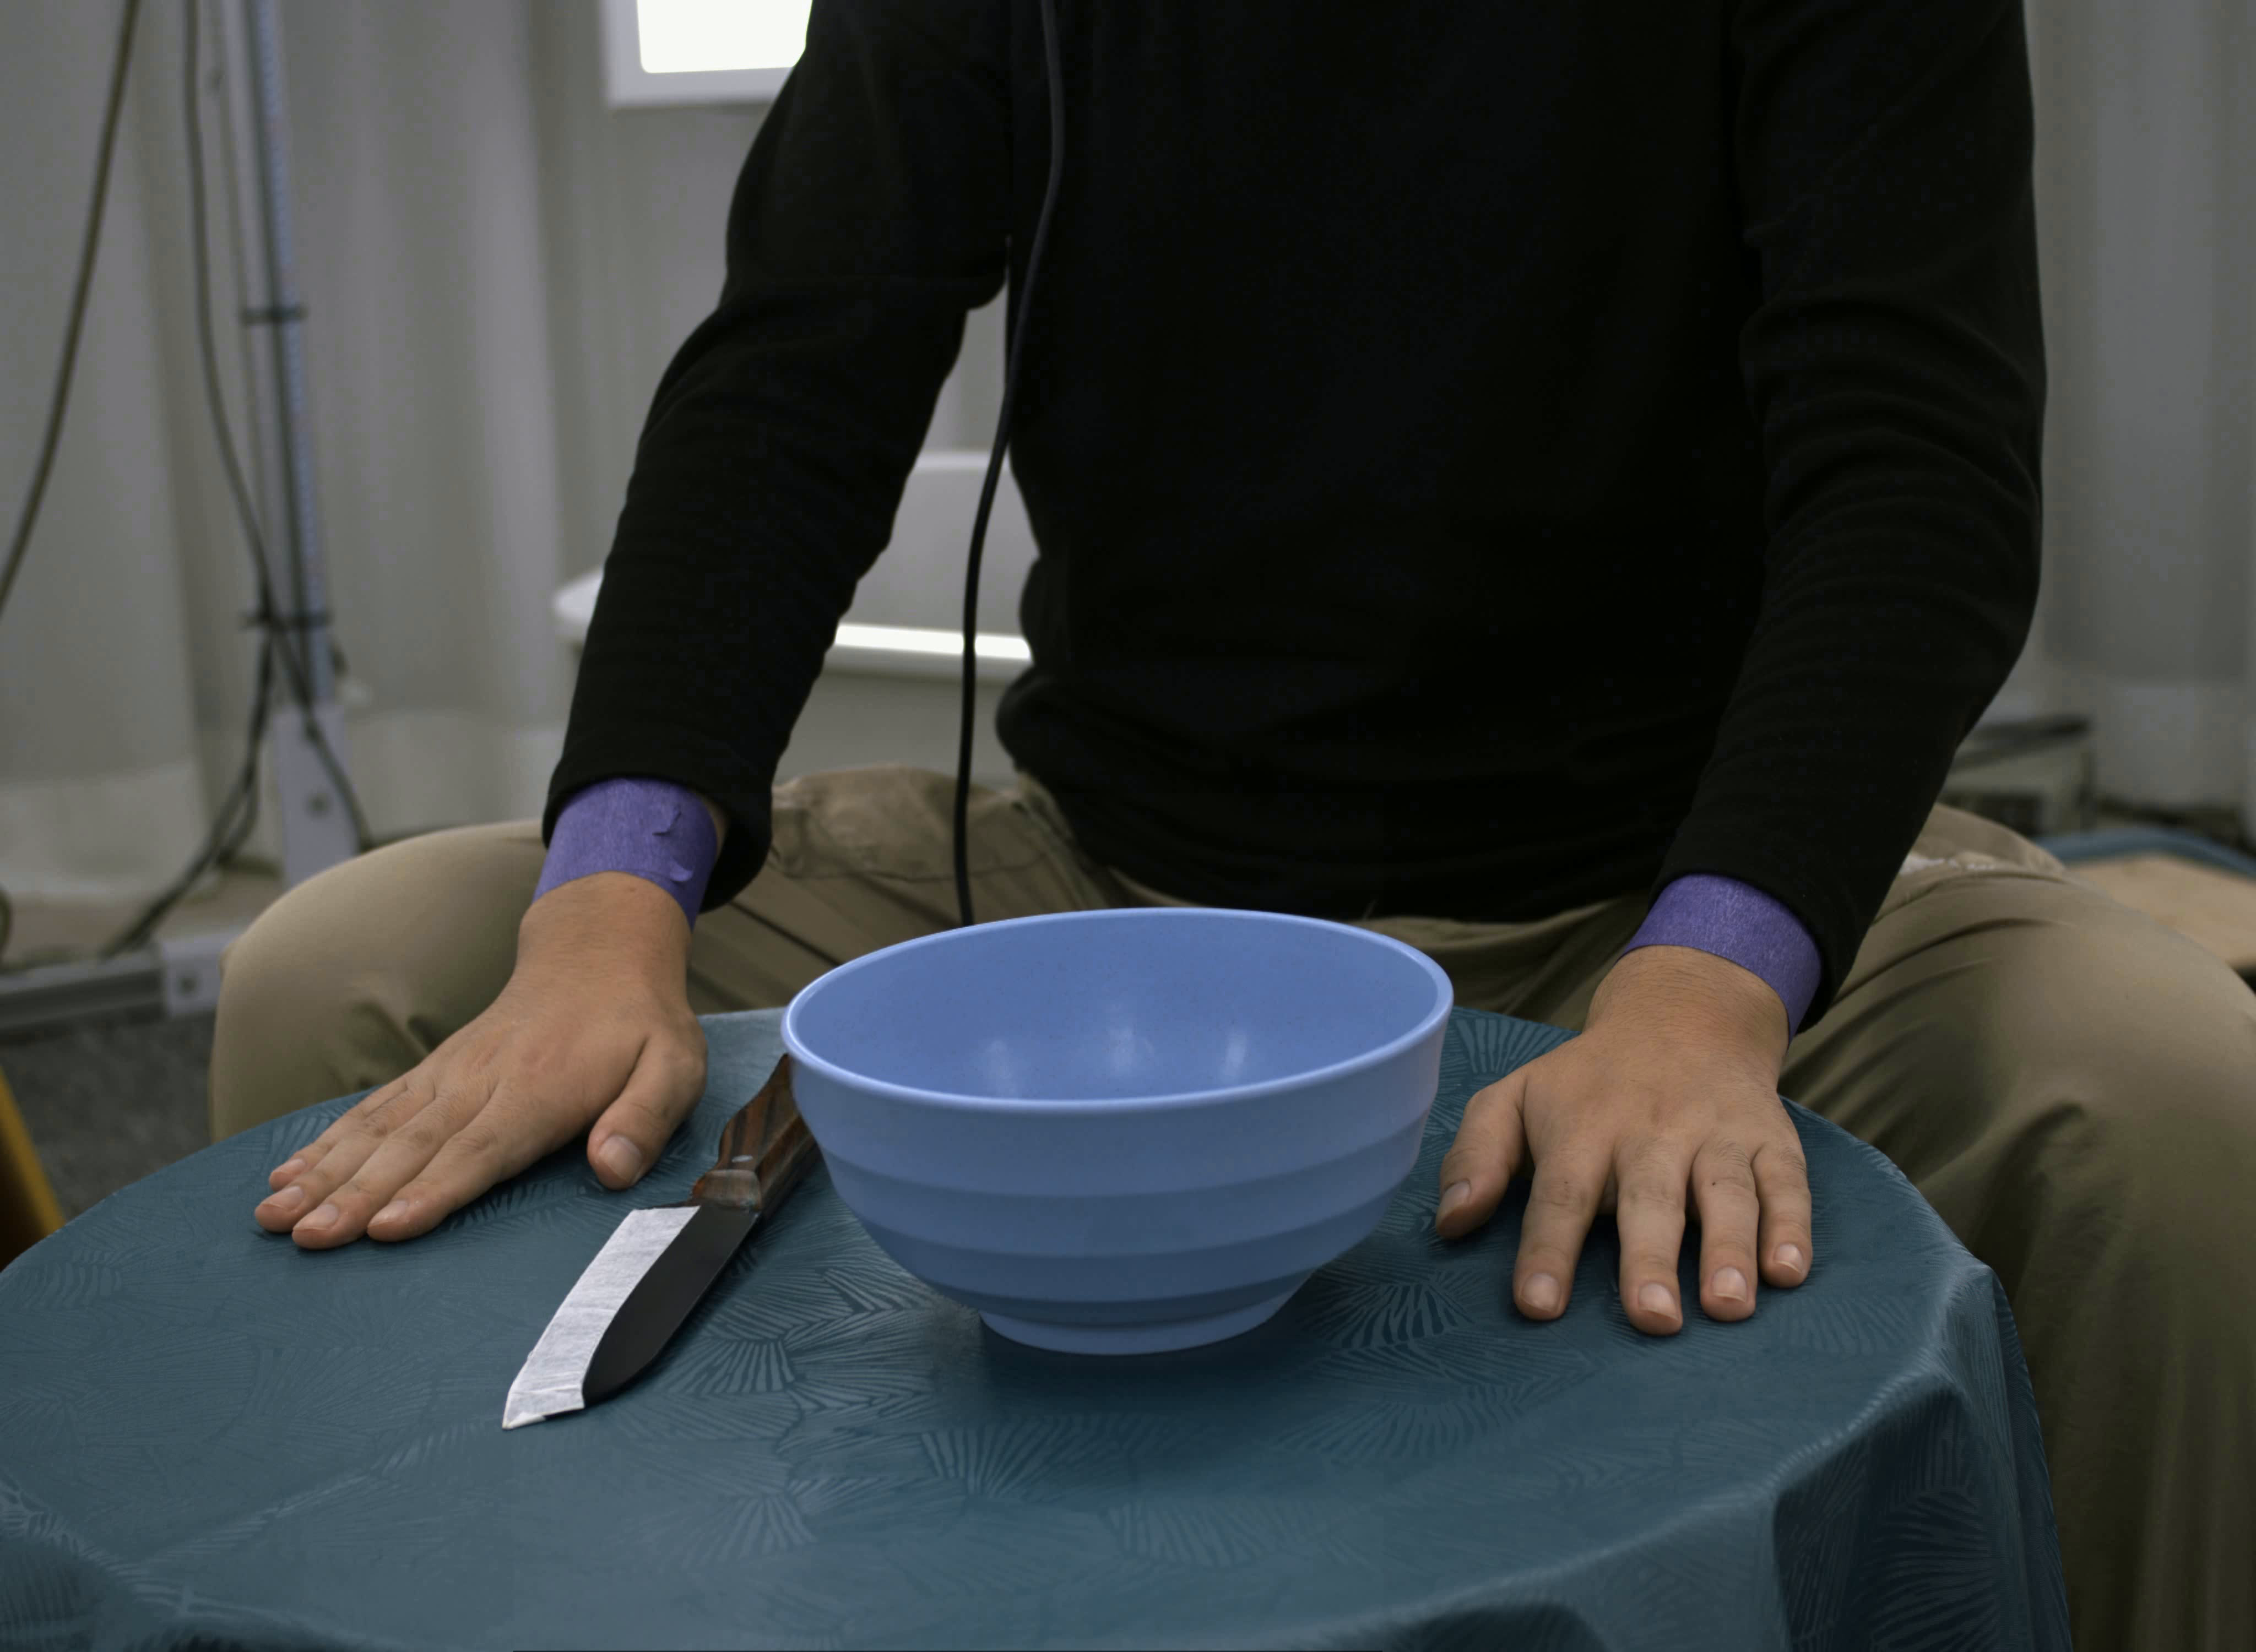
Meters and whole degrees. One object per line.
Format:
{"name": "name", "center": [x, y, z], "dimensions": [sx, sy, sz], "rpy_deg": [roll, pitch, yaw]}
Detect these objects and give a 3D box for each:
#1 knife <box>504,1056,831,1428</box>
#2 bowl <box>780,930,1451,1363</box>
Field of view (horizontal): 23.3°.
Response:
{"name": "knife", "center": [-0.135, 0.126, 1.670], "dimensions": [0.050, 0.020, 0.290], "rpy_deg": [-3, 17, 16]}
{"name": "bowl", "center": [-0.001, 0.098, 1.604], "dimensions": [0.196, 0.095, 0.197], "rpy_deg": [-3, 12, 0]}
